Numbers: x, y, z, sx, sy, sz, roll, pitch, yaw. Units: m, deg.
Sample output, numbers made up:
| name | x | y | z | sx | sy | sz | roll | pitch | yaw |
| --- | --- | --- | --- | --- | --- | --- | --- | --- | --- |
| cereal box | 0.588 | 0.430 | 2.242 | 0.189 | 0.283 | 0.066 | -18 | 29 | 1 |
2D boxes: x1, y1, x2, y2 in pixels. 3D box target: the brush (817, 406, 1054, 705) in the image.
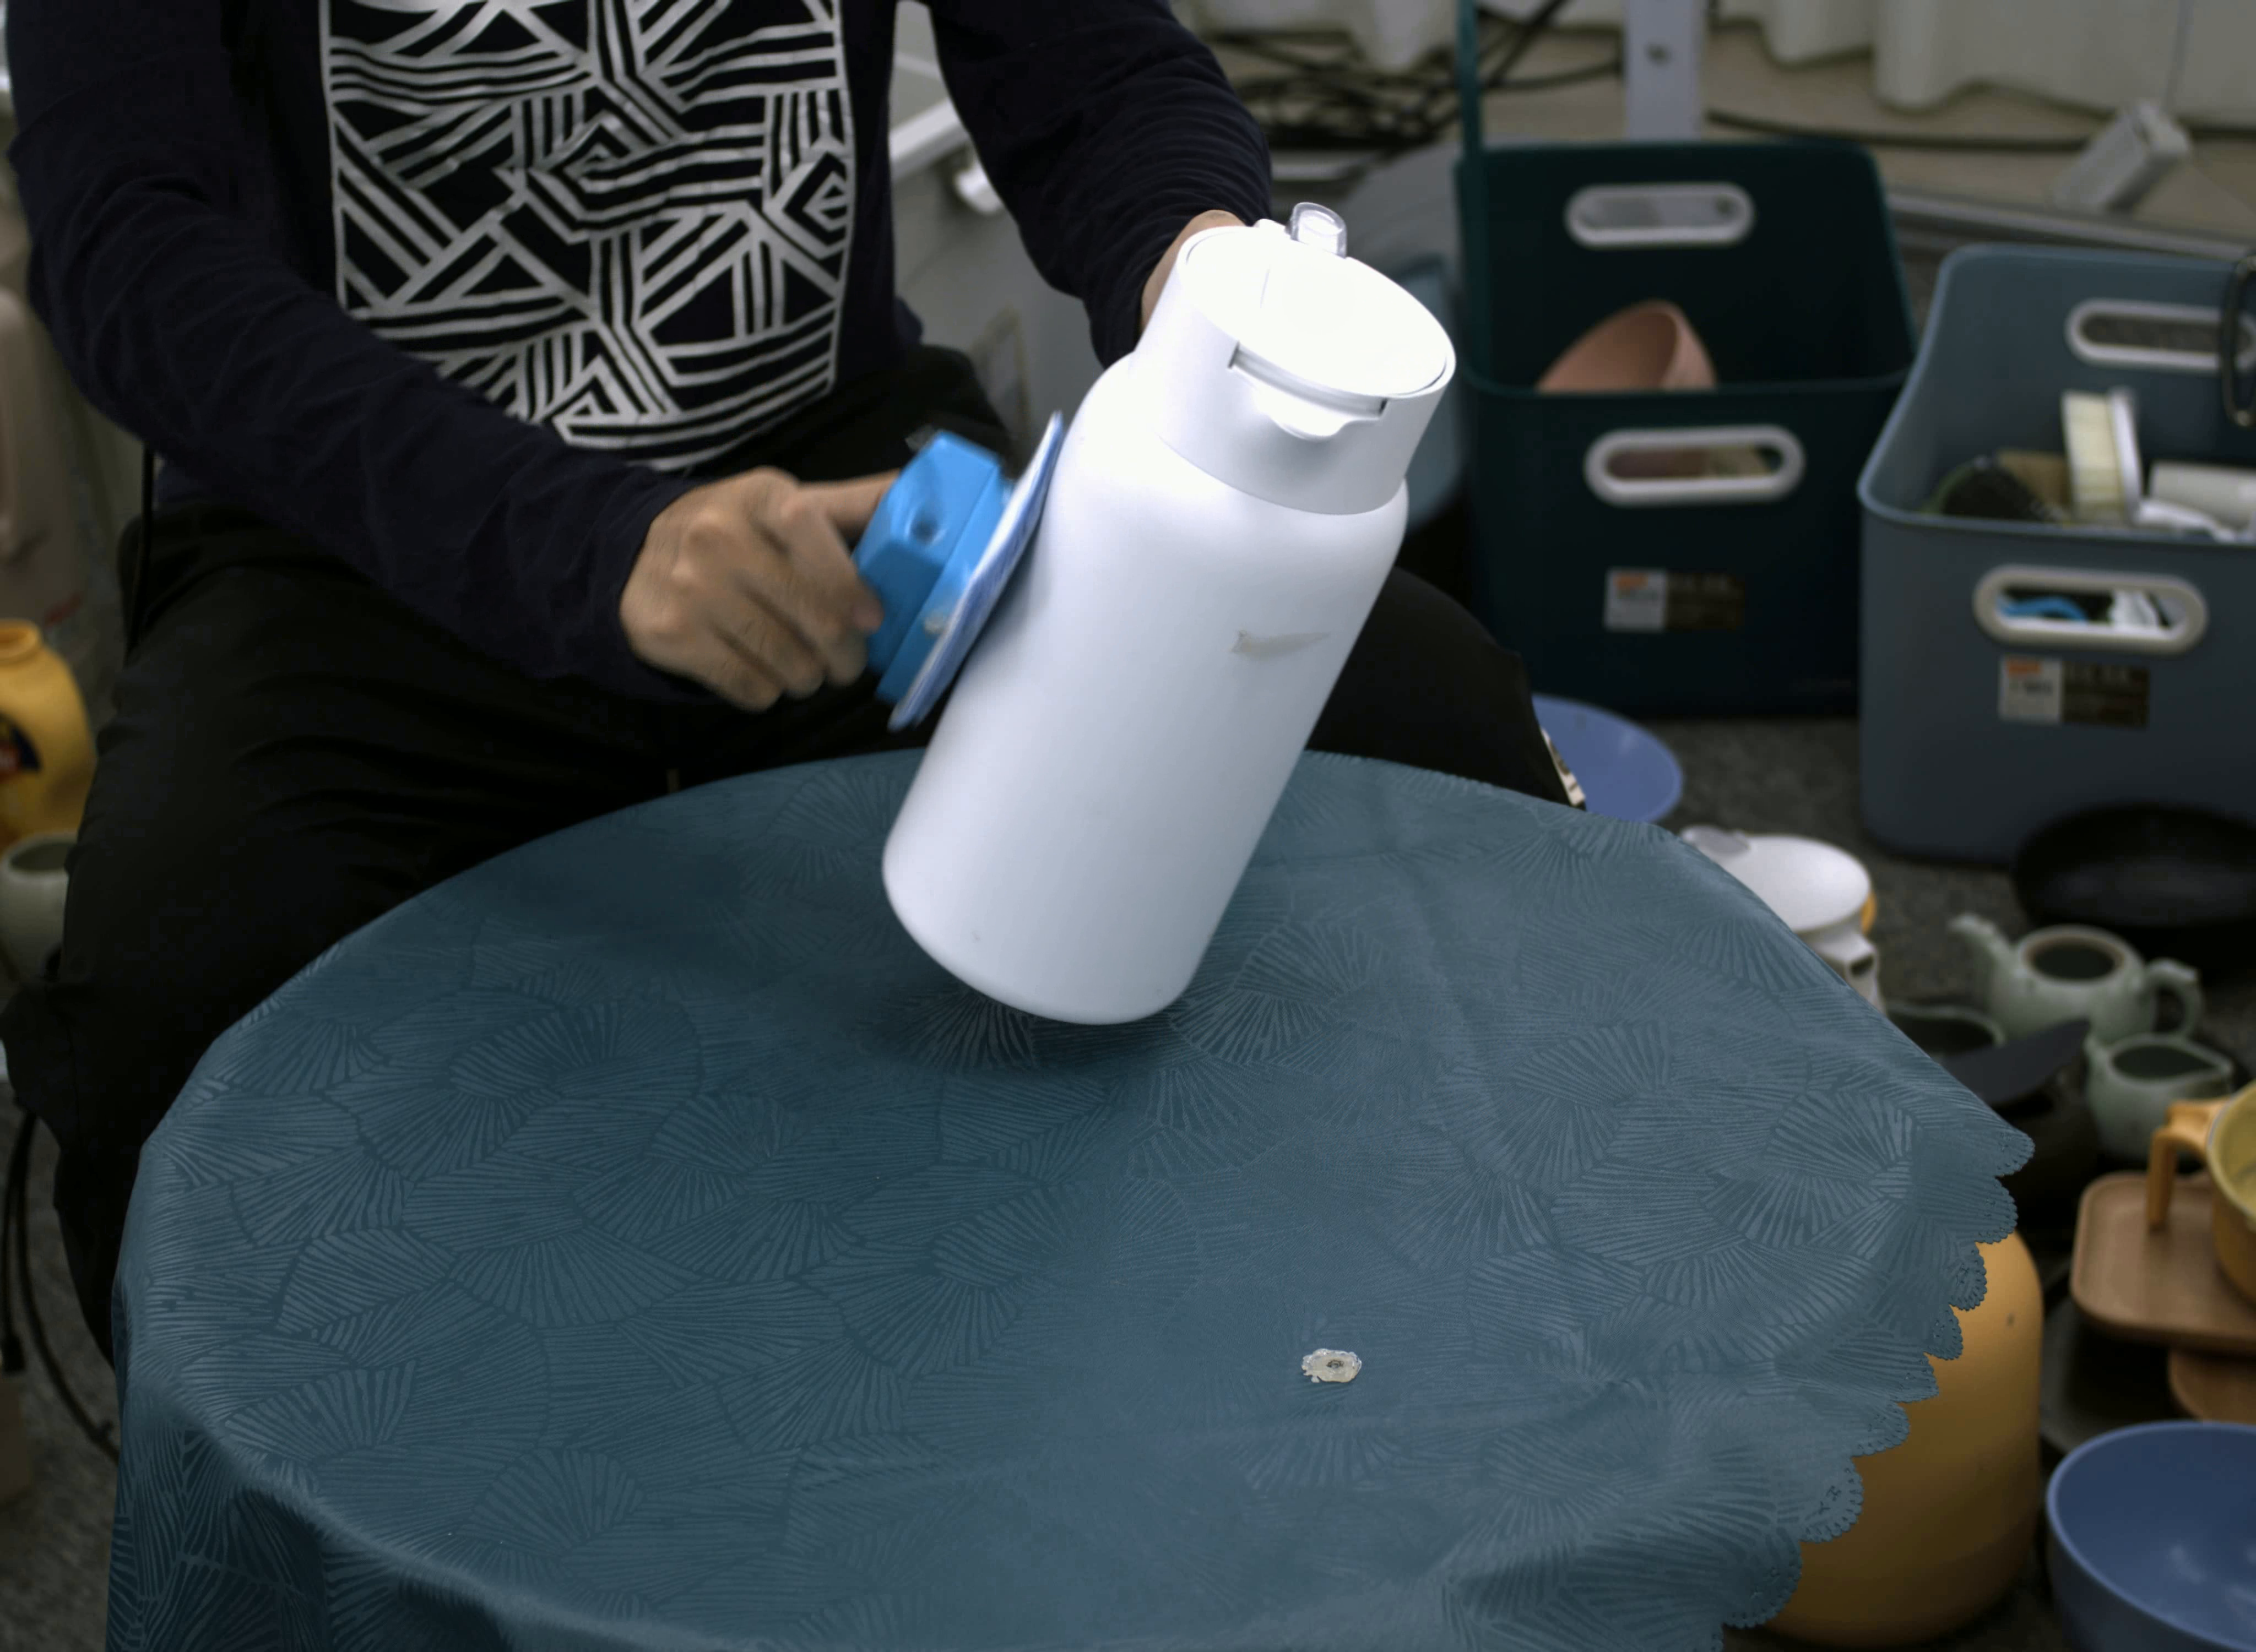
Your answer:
| name | x | y | z | sx | sy | sz | roll | pitch | yaw |
| --- | --- | --- | --- | --- | --- | --- | --- | --- | --- |
| brush | -0.071 | -0.098 | 1.918 | 0.056 | 0.142 | 0.085 | 31 | 69 | -5 |

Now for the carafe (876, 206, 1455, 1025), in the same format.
| name | x | y | z | sx | sy | sz | roll | pitch | yaw |
| --- | --- | --- | --- | --- | --- | --- | --- | --- | --- |
| carafe | 0.012 | -0.077 | 1.914 | 0.123 | 0.265 | 0.176 | 18 | 30 | -10 |
